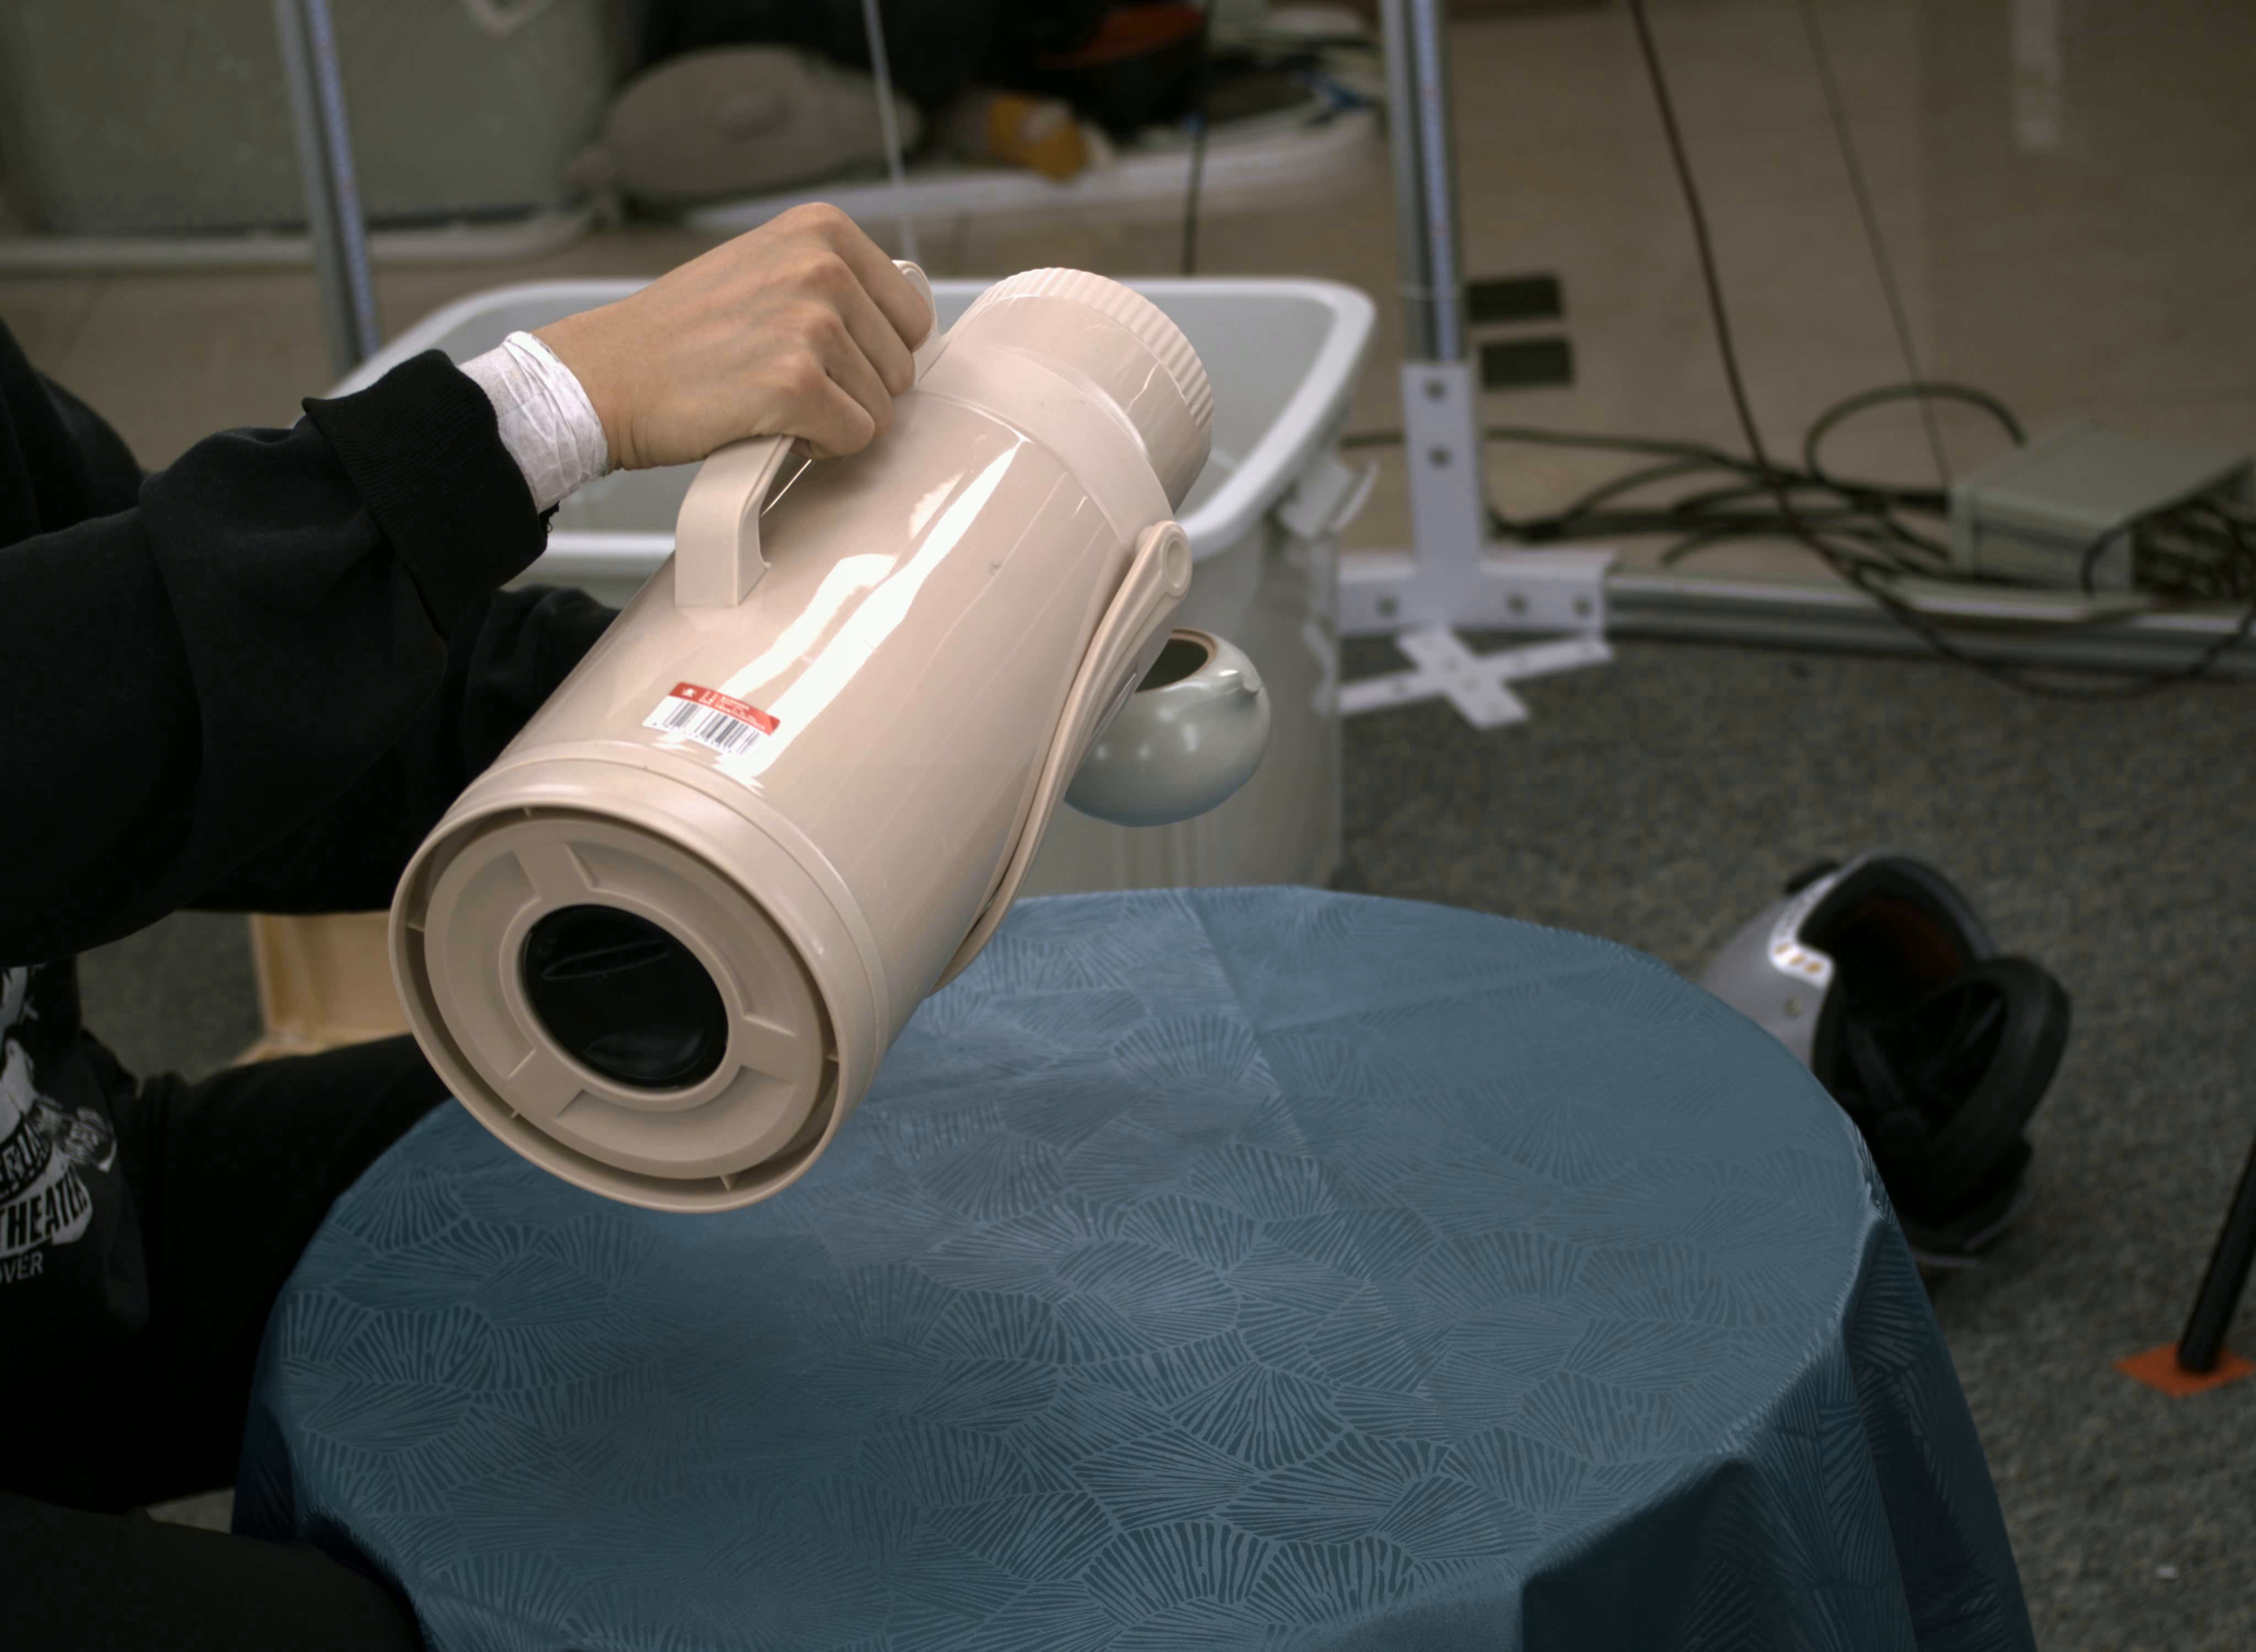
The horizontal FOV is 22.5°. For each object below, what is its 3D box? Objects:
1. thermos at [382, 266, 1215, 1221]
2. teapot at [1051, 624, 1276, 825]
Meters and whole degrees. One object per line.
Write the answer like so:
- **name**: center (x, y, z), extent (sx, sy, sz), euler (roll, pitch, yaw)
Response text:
- **thermos**: center (-0.095, -0.060, 1.914), extent (0.175, 0.211, 0.400), euler (4, 36, 26)
- **teapot**: center (0.003, -0.039, 2.154), extent (0.127, 0.060, 0.090), euler (7, 33, 34)
